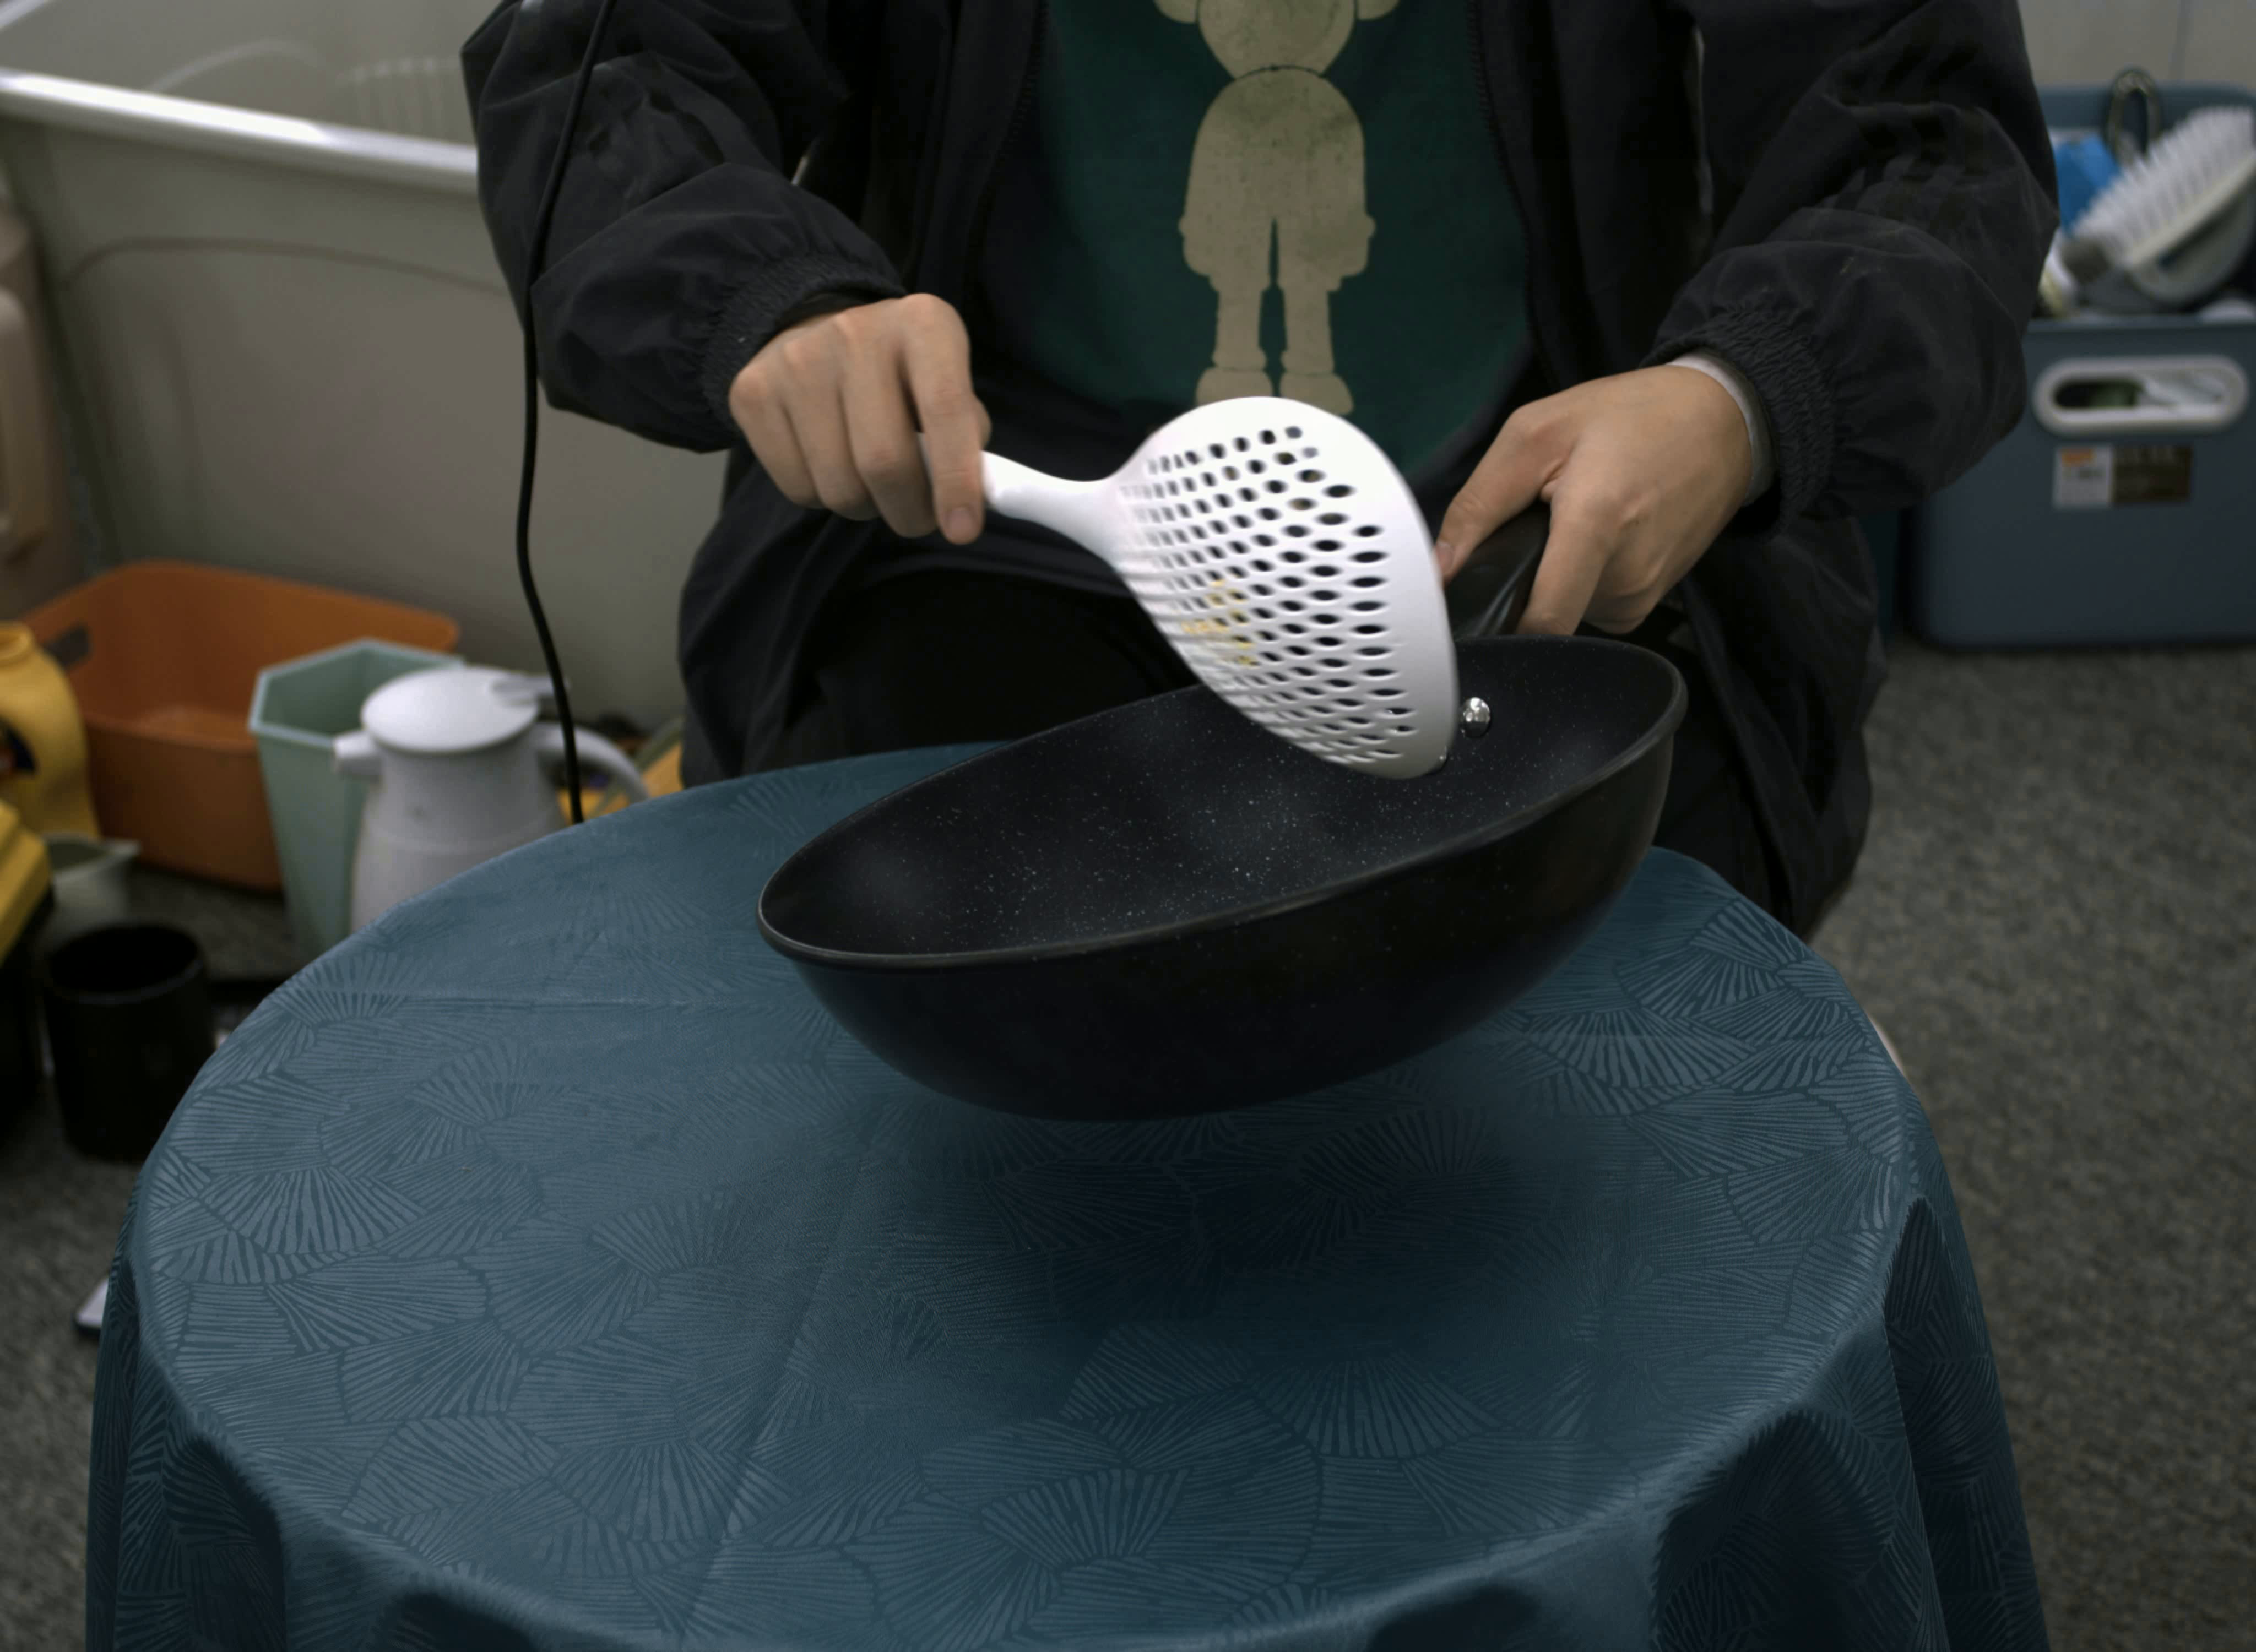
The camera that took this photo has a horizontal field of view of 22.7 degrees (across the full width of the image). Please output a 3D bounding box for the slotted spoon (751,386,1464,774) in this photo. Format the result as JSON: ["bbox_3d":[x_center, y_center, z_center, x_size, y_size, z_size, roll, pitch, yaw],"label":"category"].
[{"bbox_3d":[-0.015,-0.100,1.915,0.051,0.135,0.347,-27,29,-28],"label":"slotted spoon"}]

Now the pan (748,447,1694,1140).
[{"bbox_3d":[0.074,-0.008,1.875,0.307,0.111,0.483,-5,17,31],"label":"pan"}]
